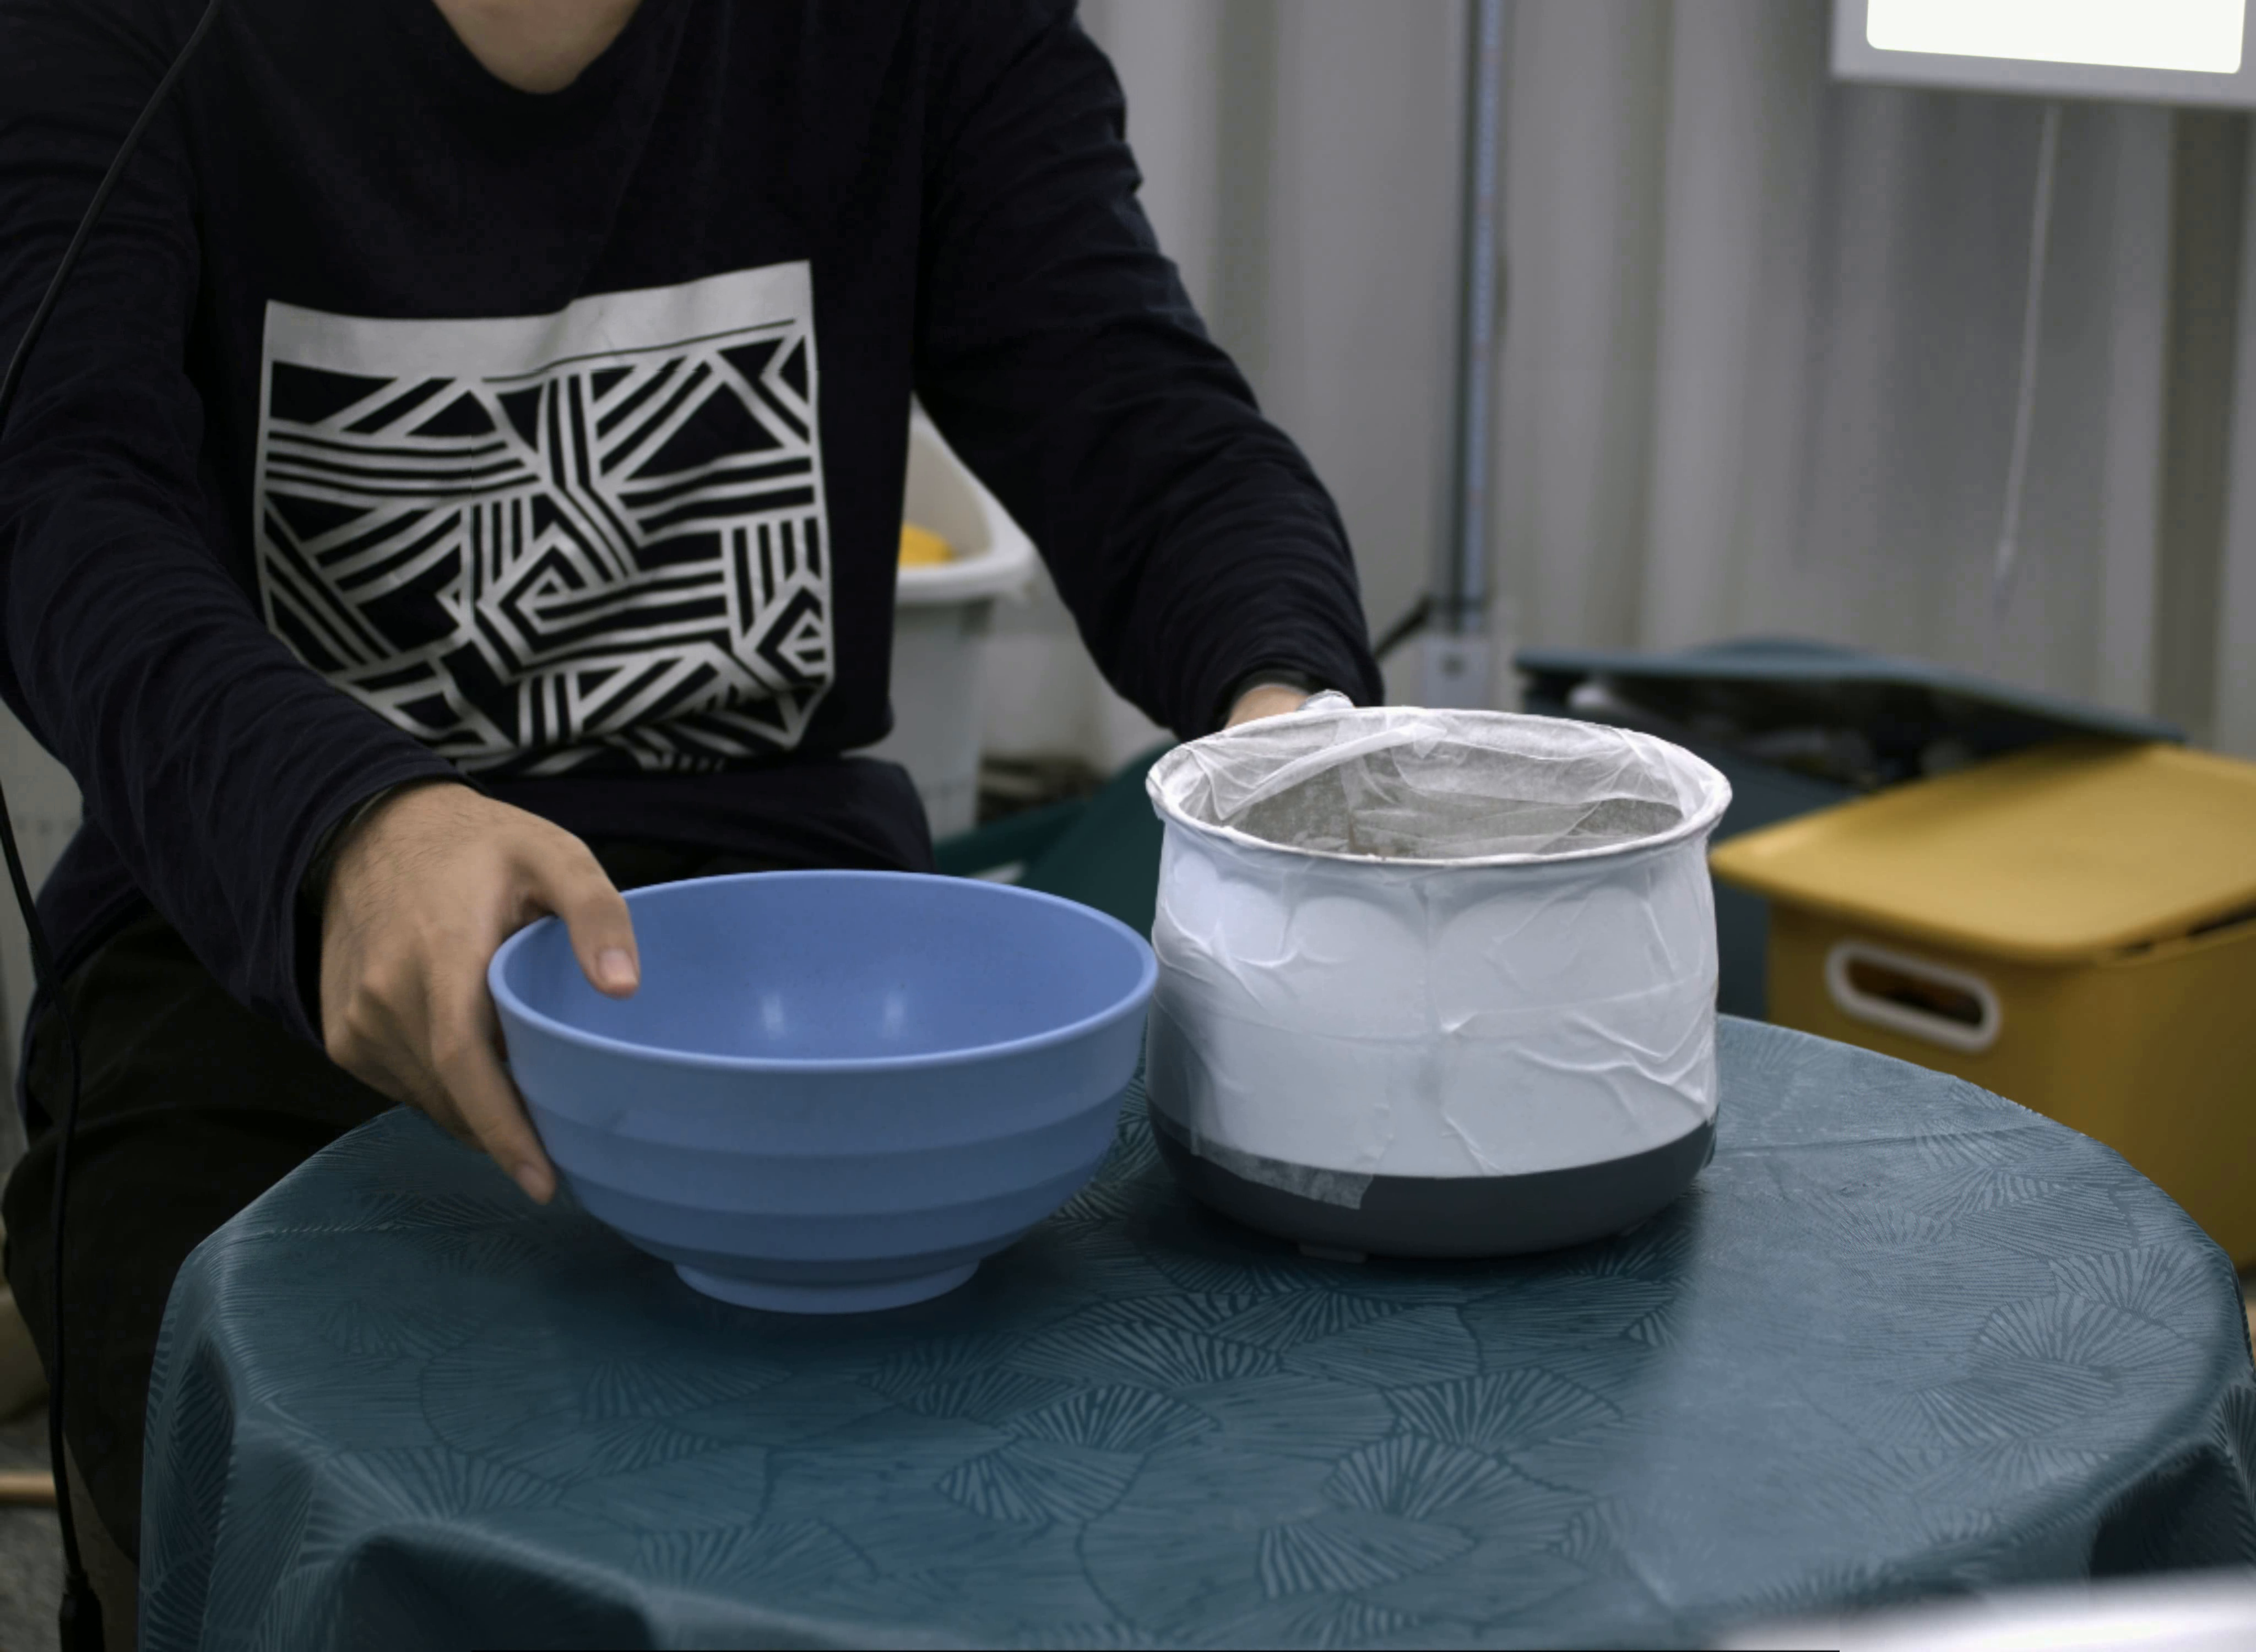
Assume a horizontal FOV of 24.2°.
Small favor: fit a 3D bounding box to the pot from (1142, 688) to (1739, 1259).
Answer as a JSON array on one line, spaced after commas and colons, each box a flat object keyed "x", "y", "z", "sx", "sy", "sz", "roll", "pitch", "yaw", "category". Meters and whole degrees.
[{"x": 0.085, "y": 0.040, "z": 1.631, "sx": 0.179, "sy": 0.137, "sz": 0.231, "roll": -3, "pitch": 16, "yaw": -19, "category": "pot"}]

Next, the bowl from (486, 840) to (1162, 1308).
[{"x": -0.088, "y": 0.080, "z": 1.546, "sx": 0.196, "sy": 0.096, "sz": 0.195, "roll": 1, "pitch": 20, "yaw": 0, "category": "bowl"}]
